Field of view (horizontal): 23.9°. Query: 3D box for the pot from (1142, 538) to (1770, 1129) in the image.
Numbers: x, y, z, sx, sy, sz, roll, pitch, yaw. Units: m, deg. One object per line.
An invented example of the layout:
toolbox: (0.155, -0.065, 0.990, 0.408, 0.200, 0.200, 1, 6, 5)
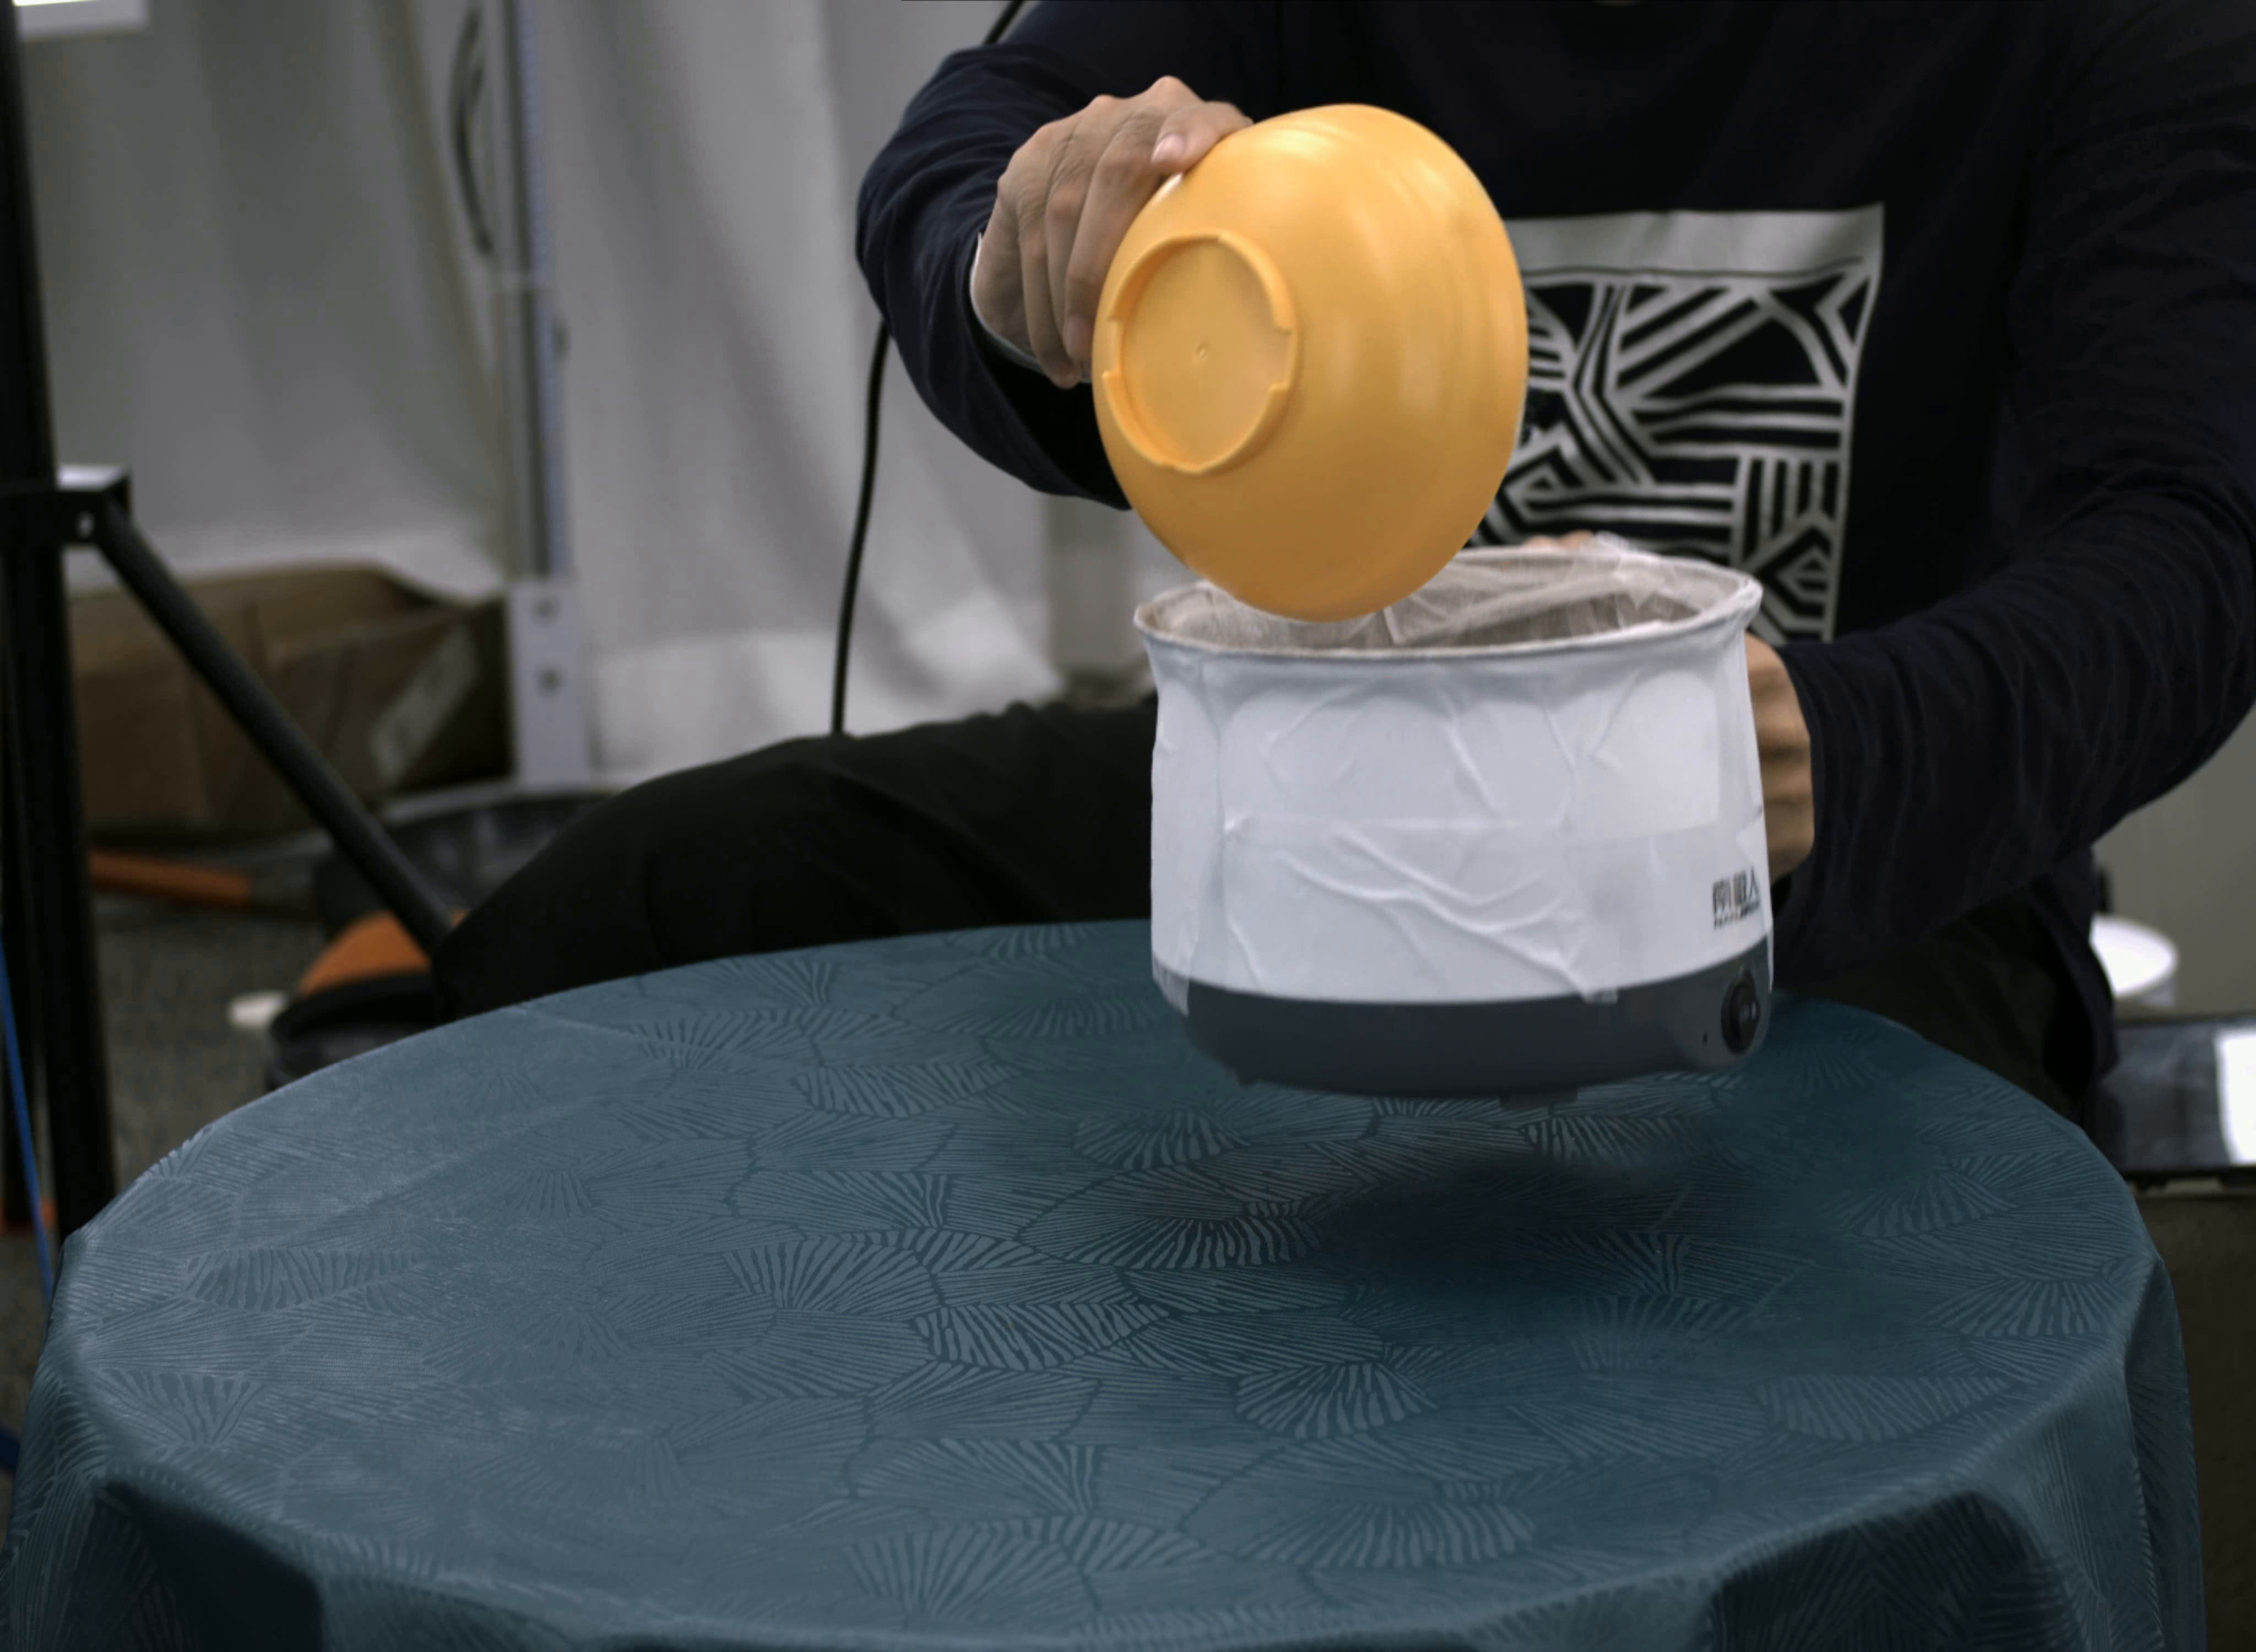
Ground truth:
pot: (0.106, -0.004, 1.526, 0.182, 0.137, 0.229, 6, 14, 30)

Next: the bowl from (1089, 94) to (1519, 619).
bowl: (0.035, -0.130, 1.463, 0.058, 0.146, 0.148, 2, 9, -45)
